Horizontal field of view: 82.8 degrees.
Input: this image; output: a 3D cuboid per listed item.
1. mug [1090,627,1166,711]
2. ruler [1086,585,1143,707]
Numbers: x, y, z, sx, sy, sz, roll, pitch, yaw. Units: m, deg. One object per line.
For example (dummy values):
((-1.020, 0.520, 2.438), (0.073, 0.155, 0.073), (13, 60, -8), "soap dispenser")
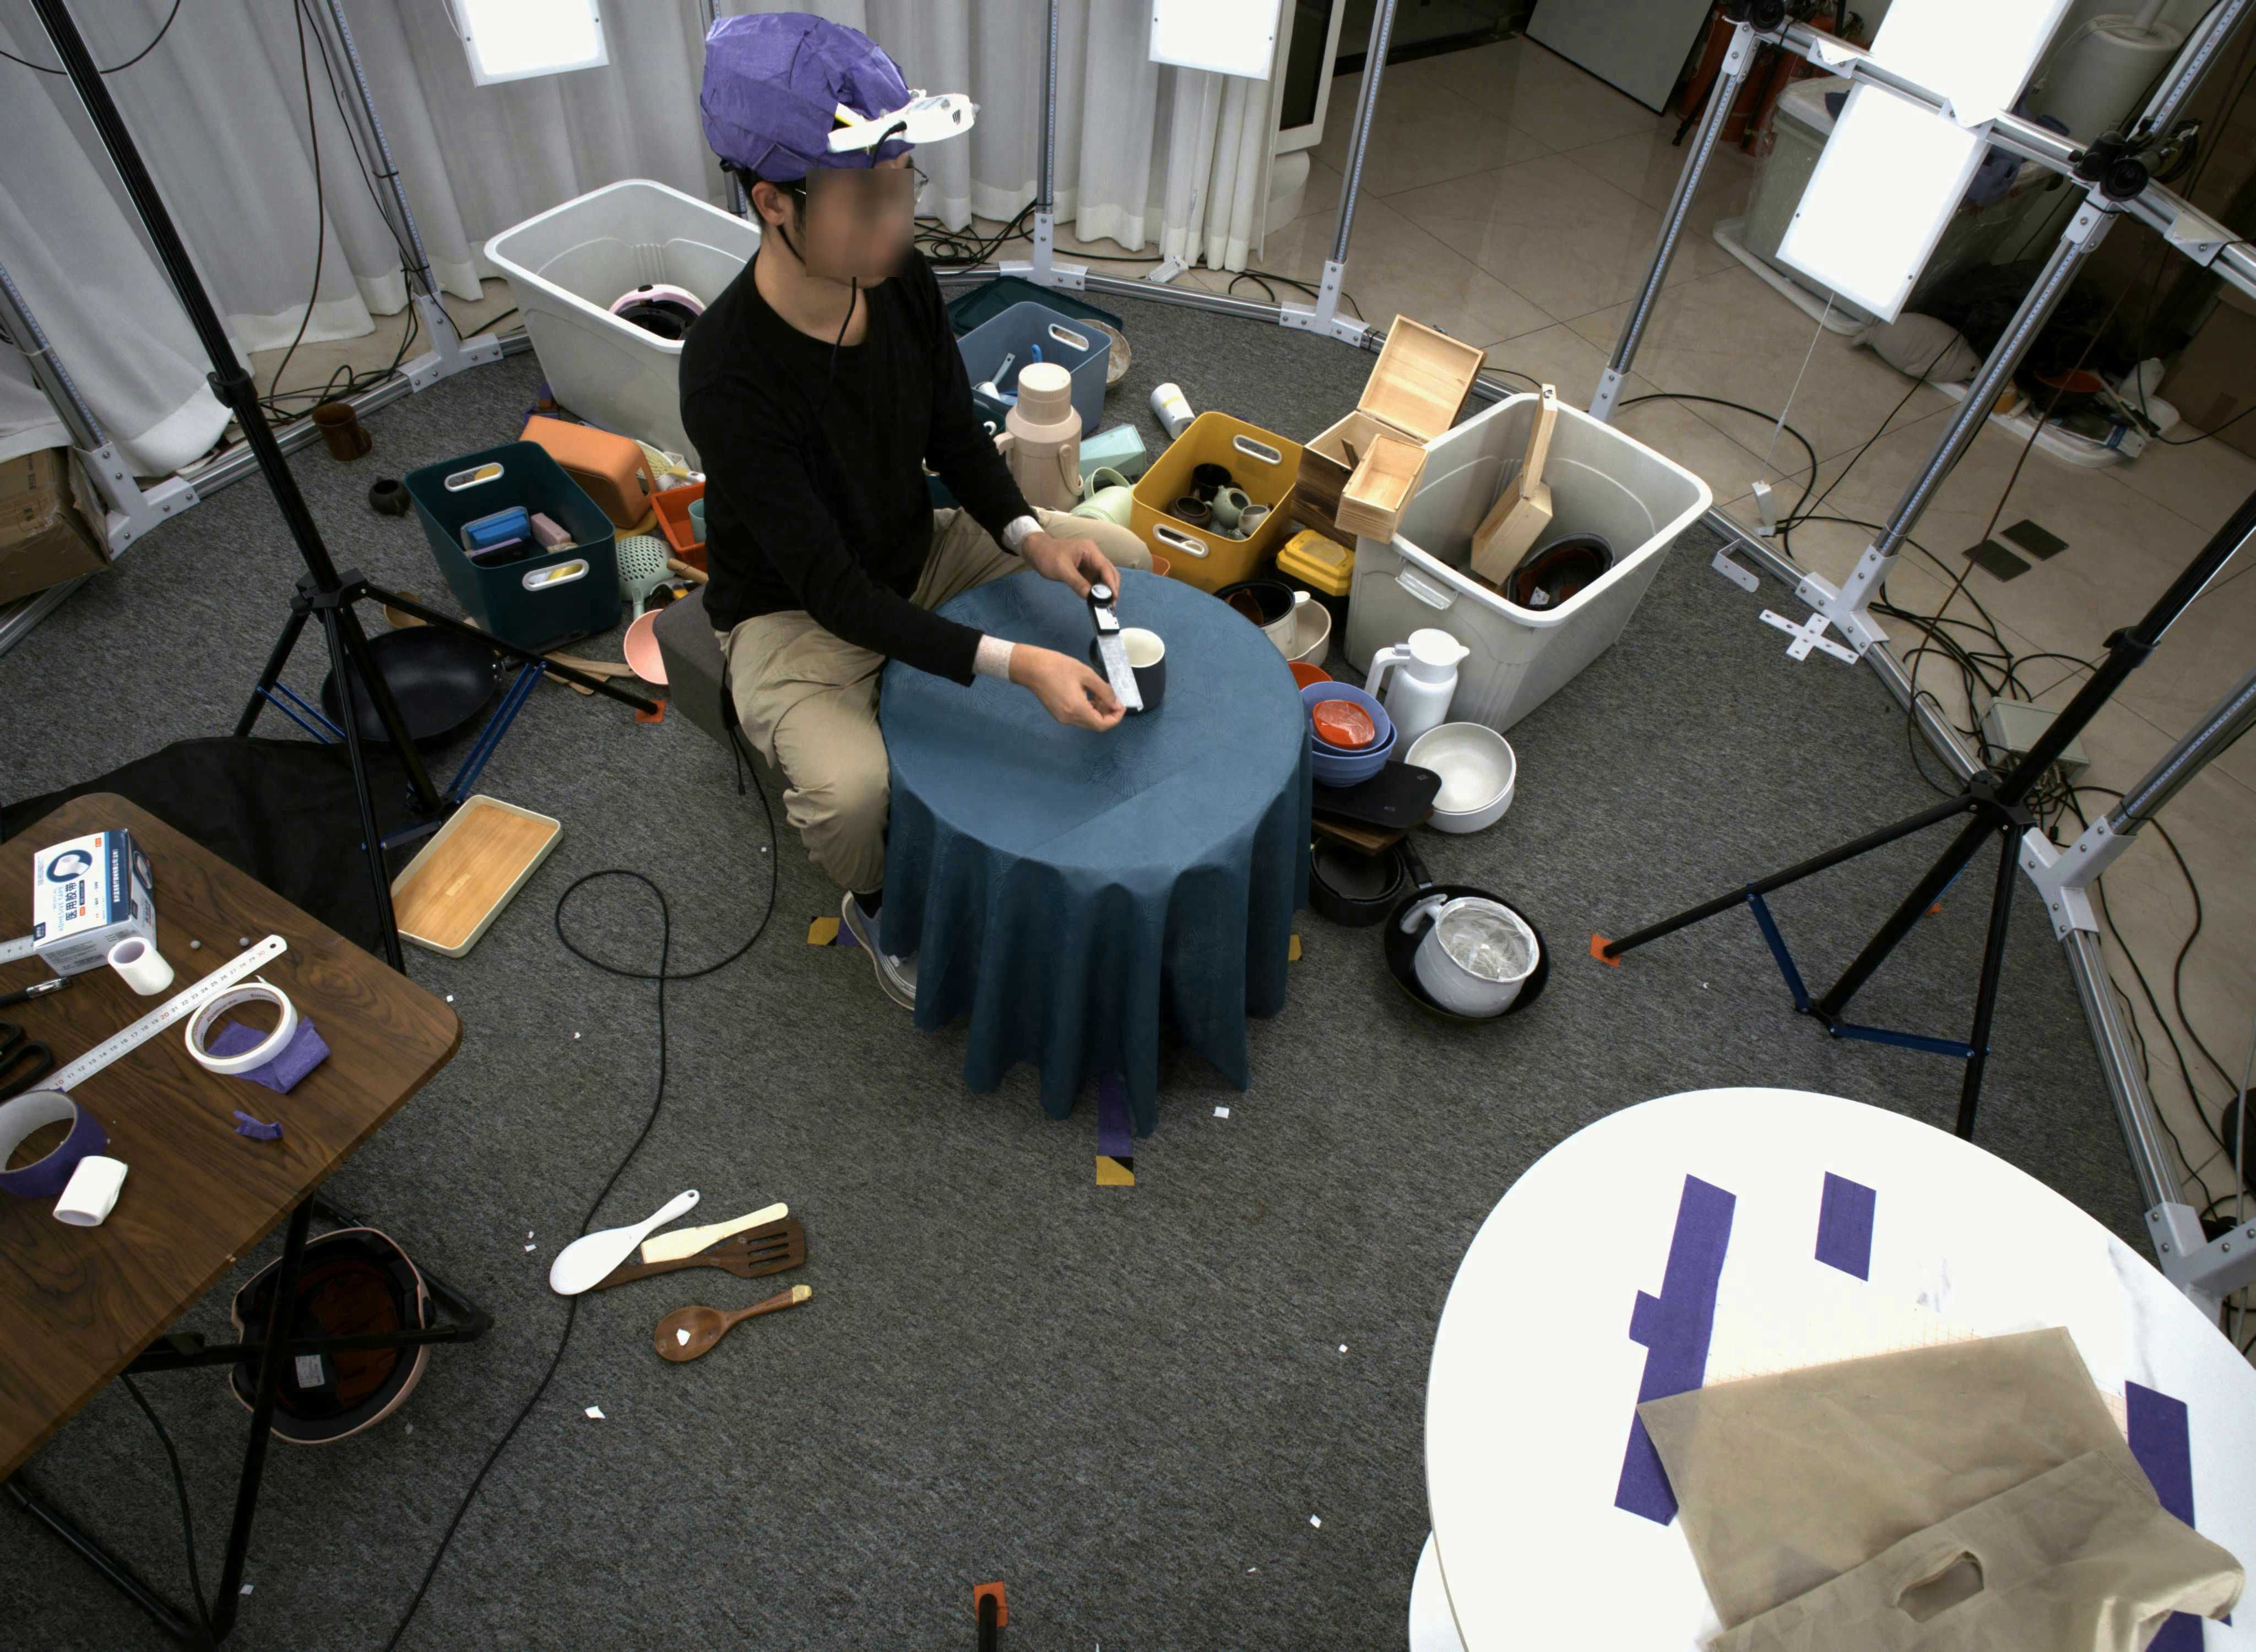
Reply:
((-0.003, -0.228, 1.806), (0.125, 0.088, 0.094), (35, 55, 22), "mug")
((-0.020, -0.248, 1.742), (0.038, 0.023, 0.223), (-7, 51, -11), "ruler")
